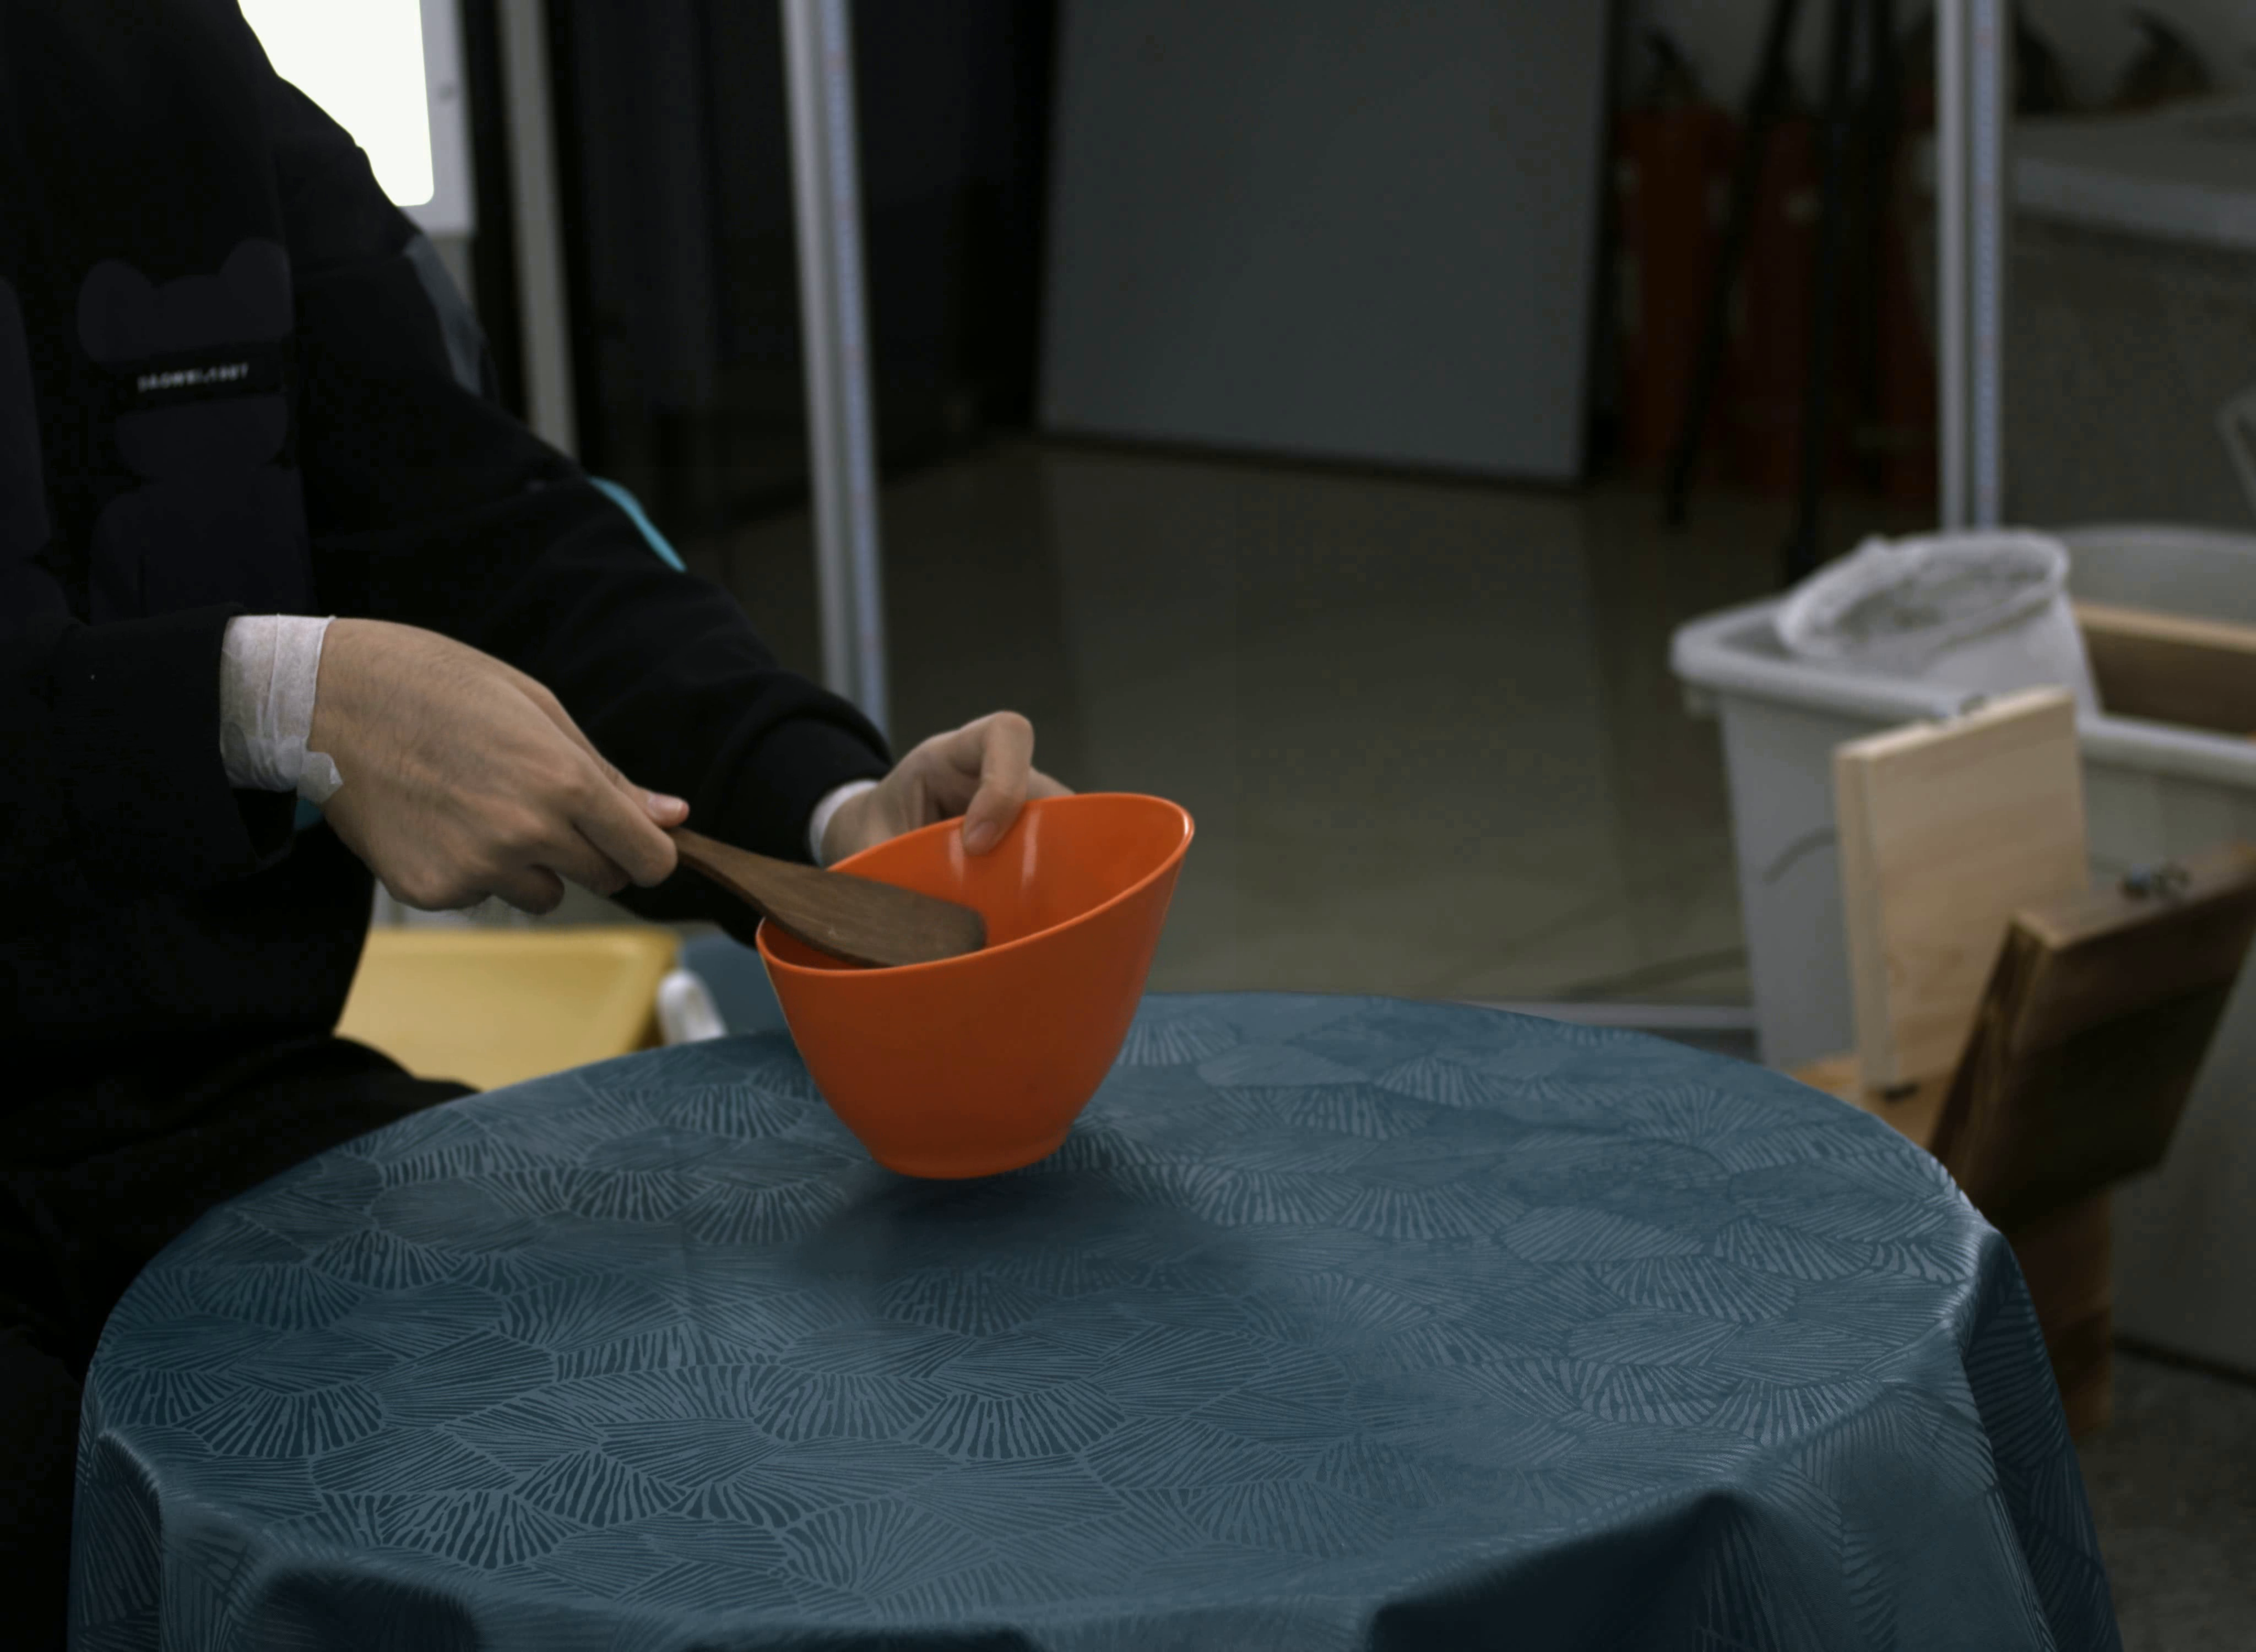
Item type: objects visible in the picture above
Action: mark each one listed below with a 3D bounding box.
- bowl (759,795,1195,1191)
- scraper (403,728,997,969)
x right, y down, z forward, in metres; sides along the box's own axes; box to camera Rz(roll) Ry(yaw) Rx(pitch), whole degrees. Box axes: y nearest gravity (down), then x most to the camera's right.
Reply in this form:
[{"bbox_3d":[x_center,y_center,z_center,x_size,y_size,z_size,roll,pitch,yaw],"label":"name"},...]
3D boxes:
[{"bbox_3d":[-0.045,0.058,1.765,0.146,0.105,0.148,-7,19,1],"label":"bowl"},{"bbox_3d":[-0.144,0.008,1.786,0.211,0.011,0.075,22,19,14],"label":"scraper"}]
